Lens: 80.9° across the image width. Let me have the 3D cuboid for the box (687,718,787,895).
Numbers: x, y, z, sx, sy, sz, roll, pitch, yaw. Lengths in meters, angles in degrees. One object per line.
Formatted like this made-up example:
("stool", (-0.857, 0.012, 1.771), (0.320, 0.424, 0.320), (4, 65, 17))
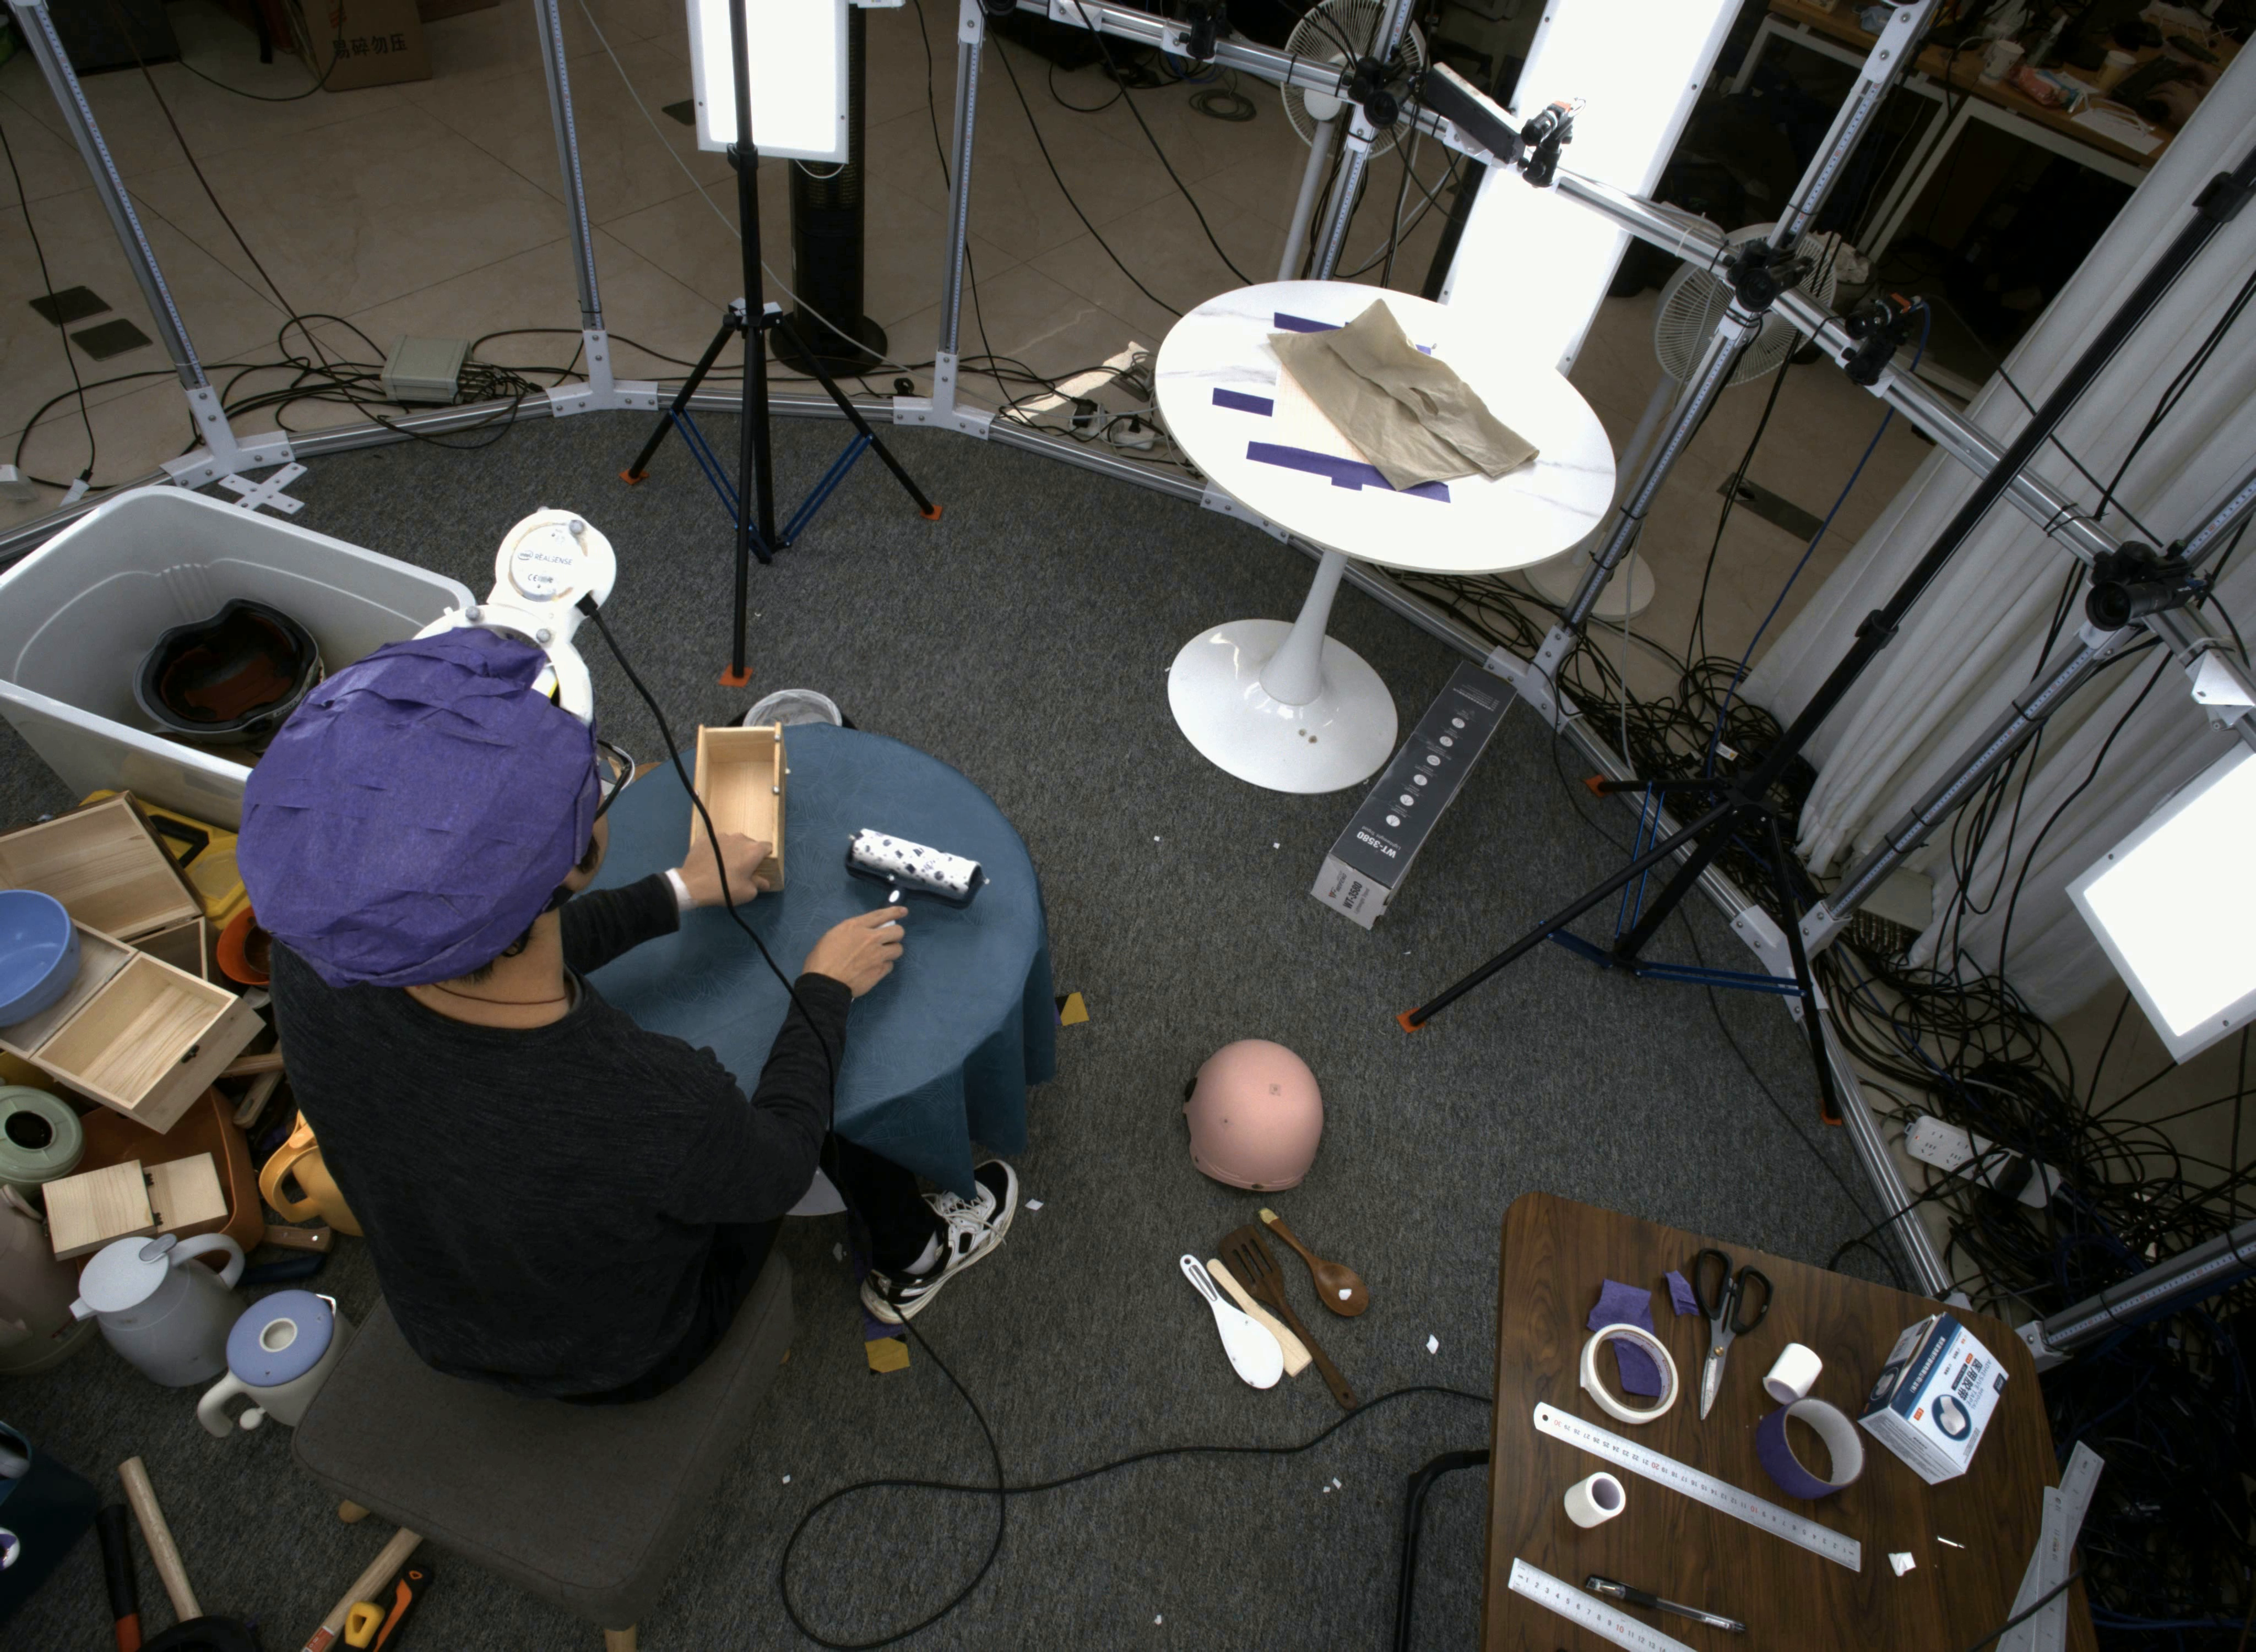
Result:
("box", (-0.491, -0.027, 1.633), (0.107, 0.082, 0.207), (-3, 58, -10))

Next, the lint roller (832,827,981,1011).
("lint roller", (-0.303, 0.116, 1.603), (0.173, 0.052, 0.244), (16, 52, 6))
